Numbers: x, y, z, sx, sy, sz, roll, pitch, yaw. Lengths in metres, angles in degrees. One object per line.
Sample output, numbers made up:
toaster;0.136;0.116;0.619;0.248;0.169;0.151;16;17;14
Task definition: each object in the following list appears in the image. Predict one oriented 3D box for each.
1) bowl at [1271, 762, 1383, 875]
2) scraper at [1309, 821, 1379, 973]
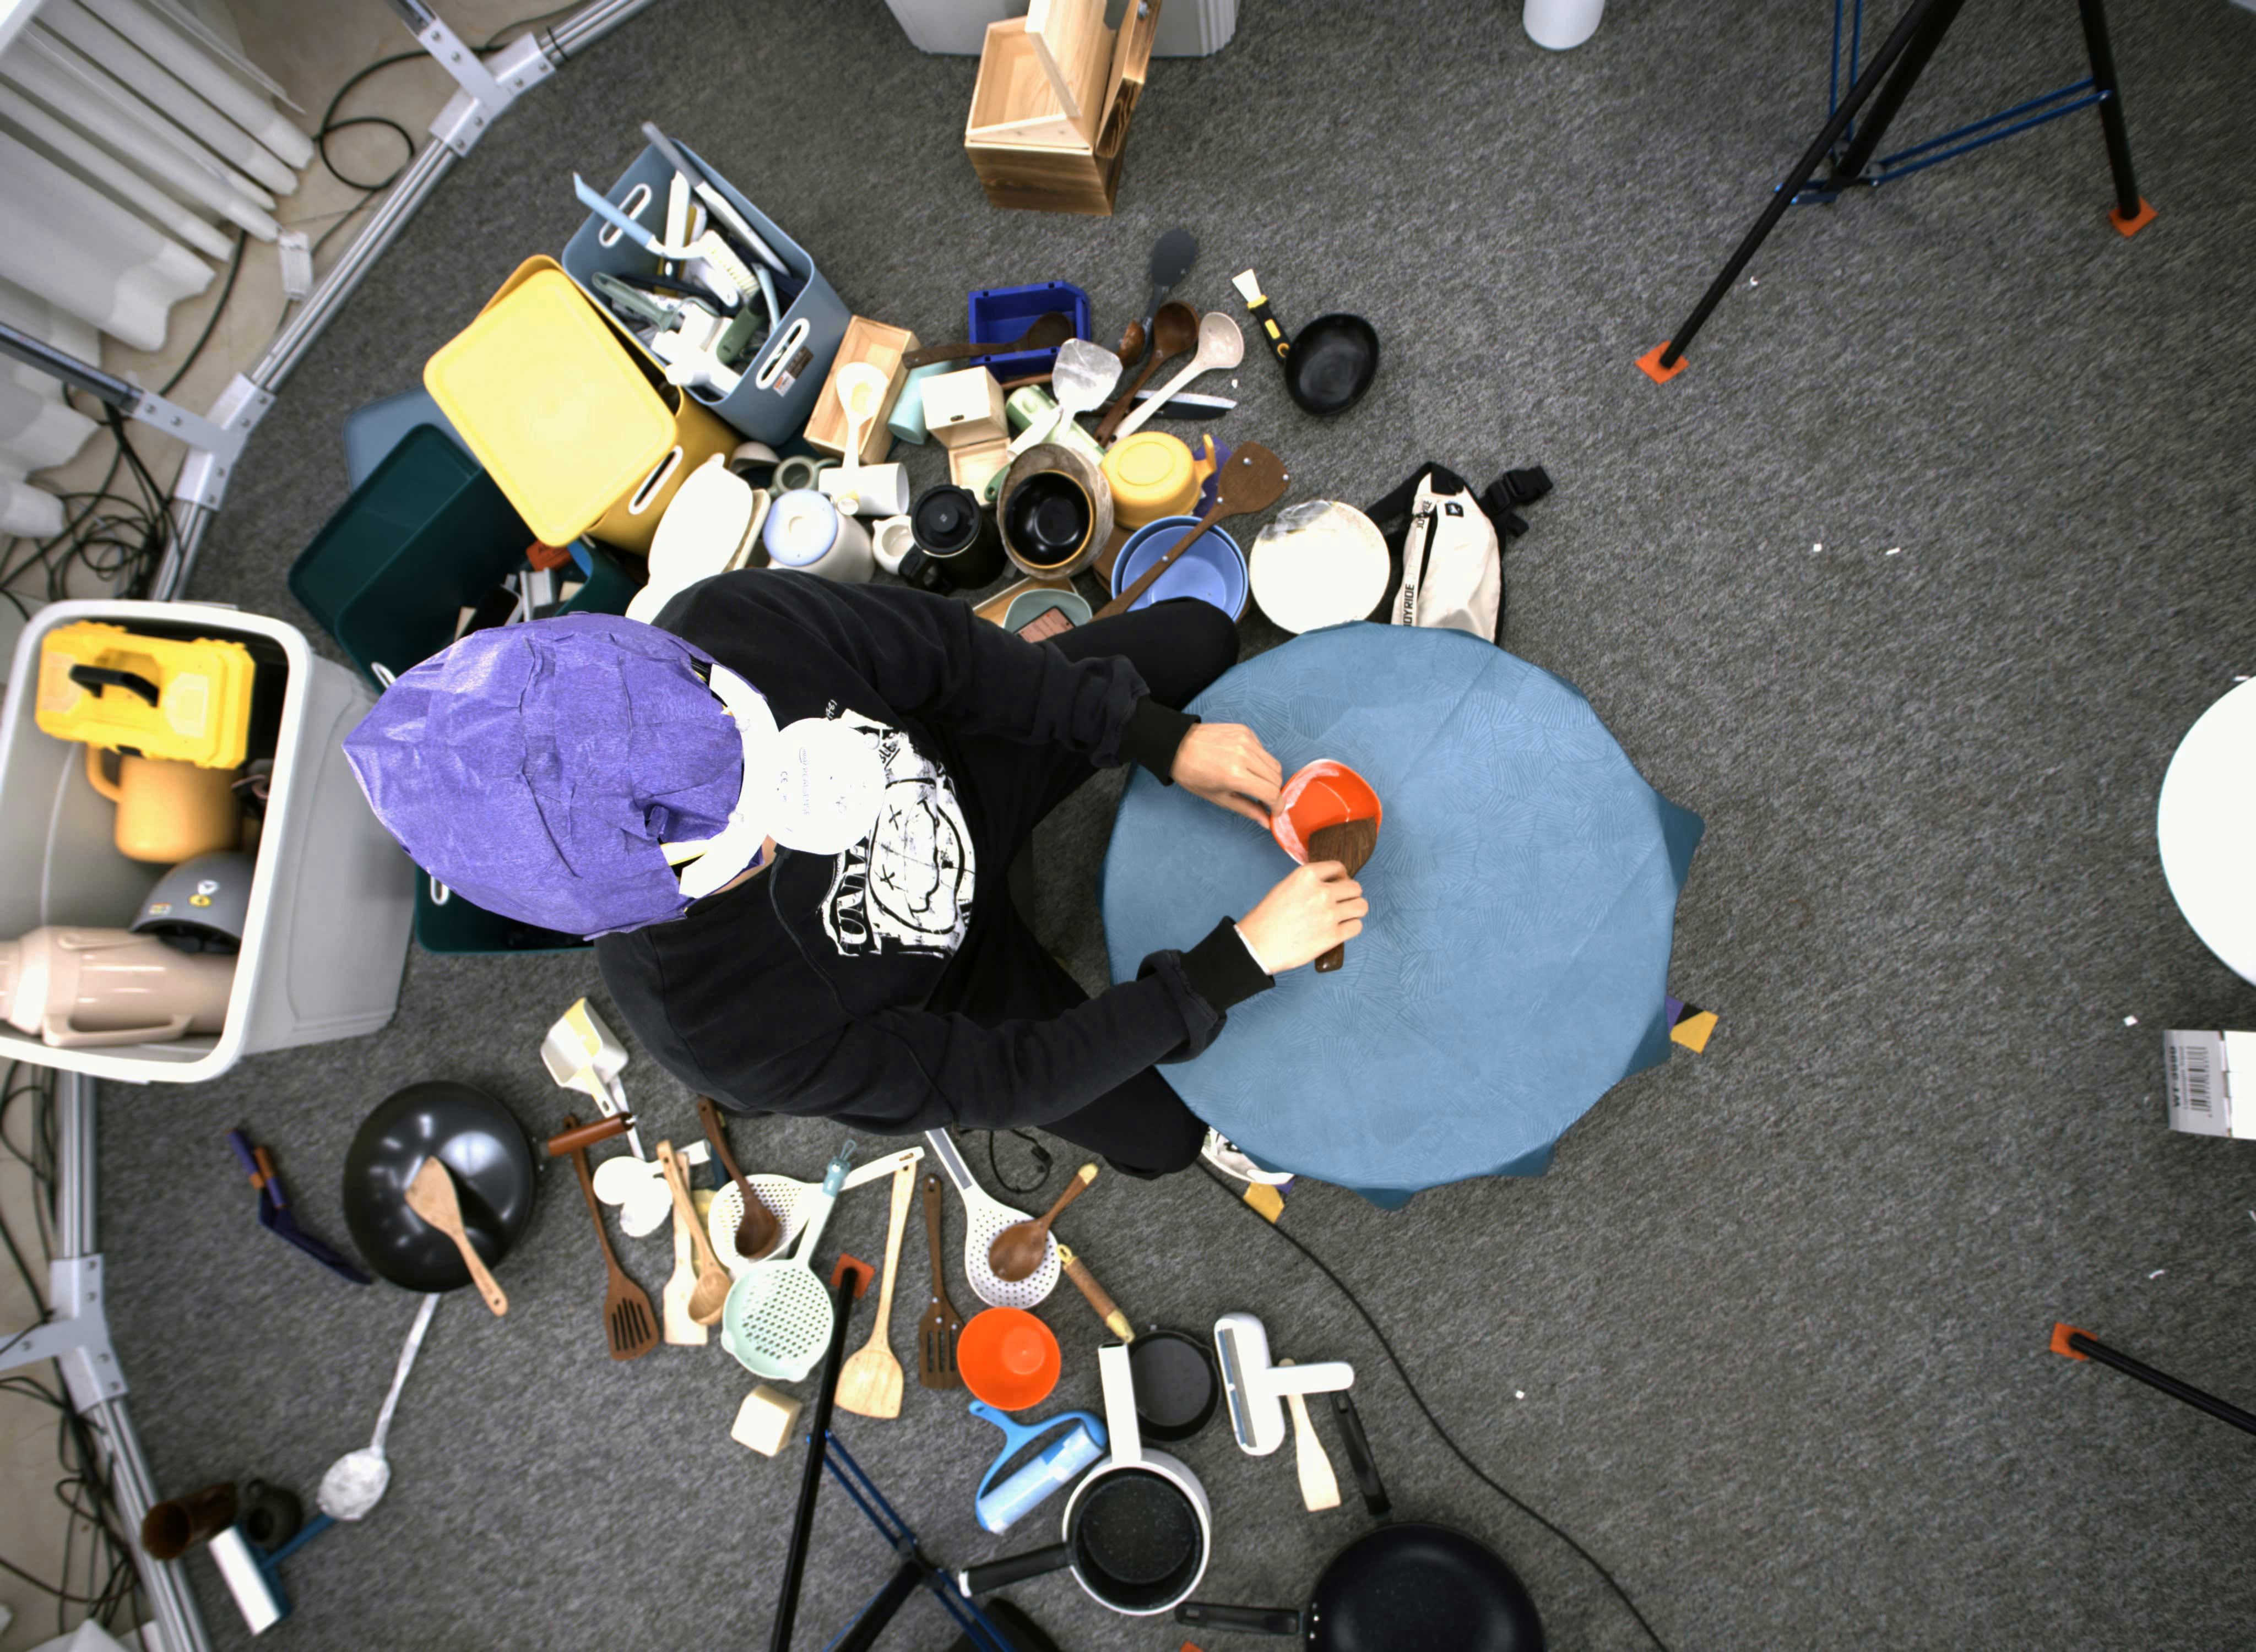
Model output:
bowl;0.201;-0.009;1.440;0.119;0.051;0.119;-1;96;-10
scraper;0.207;0.068;1.358;0.076;0.205;0.011;-14;125;25
